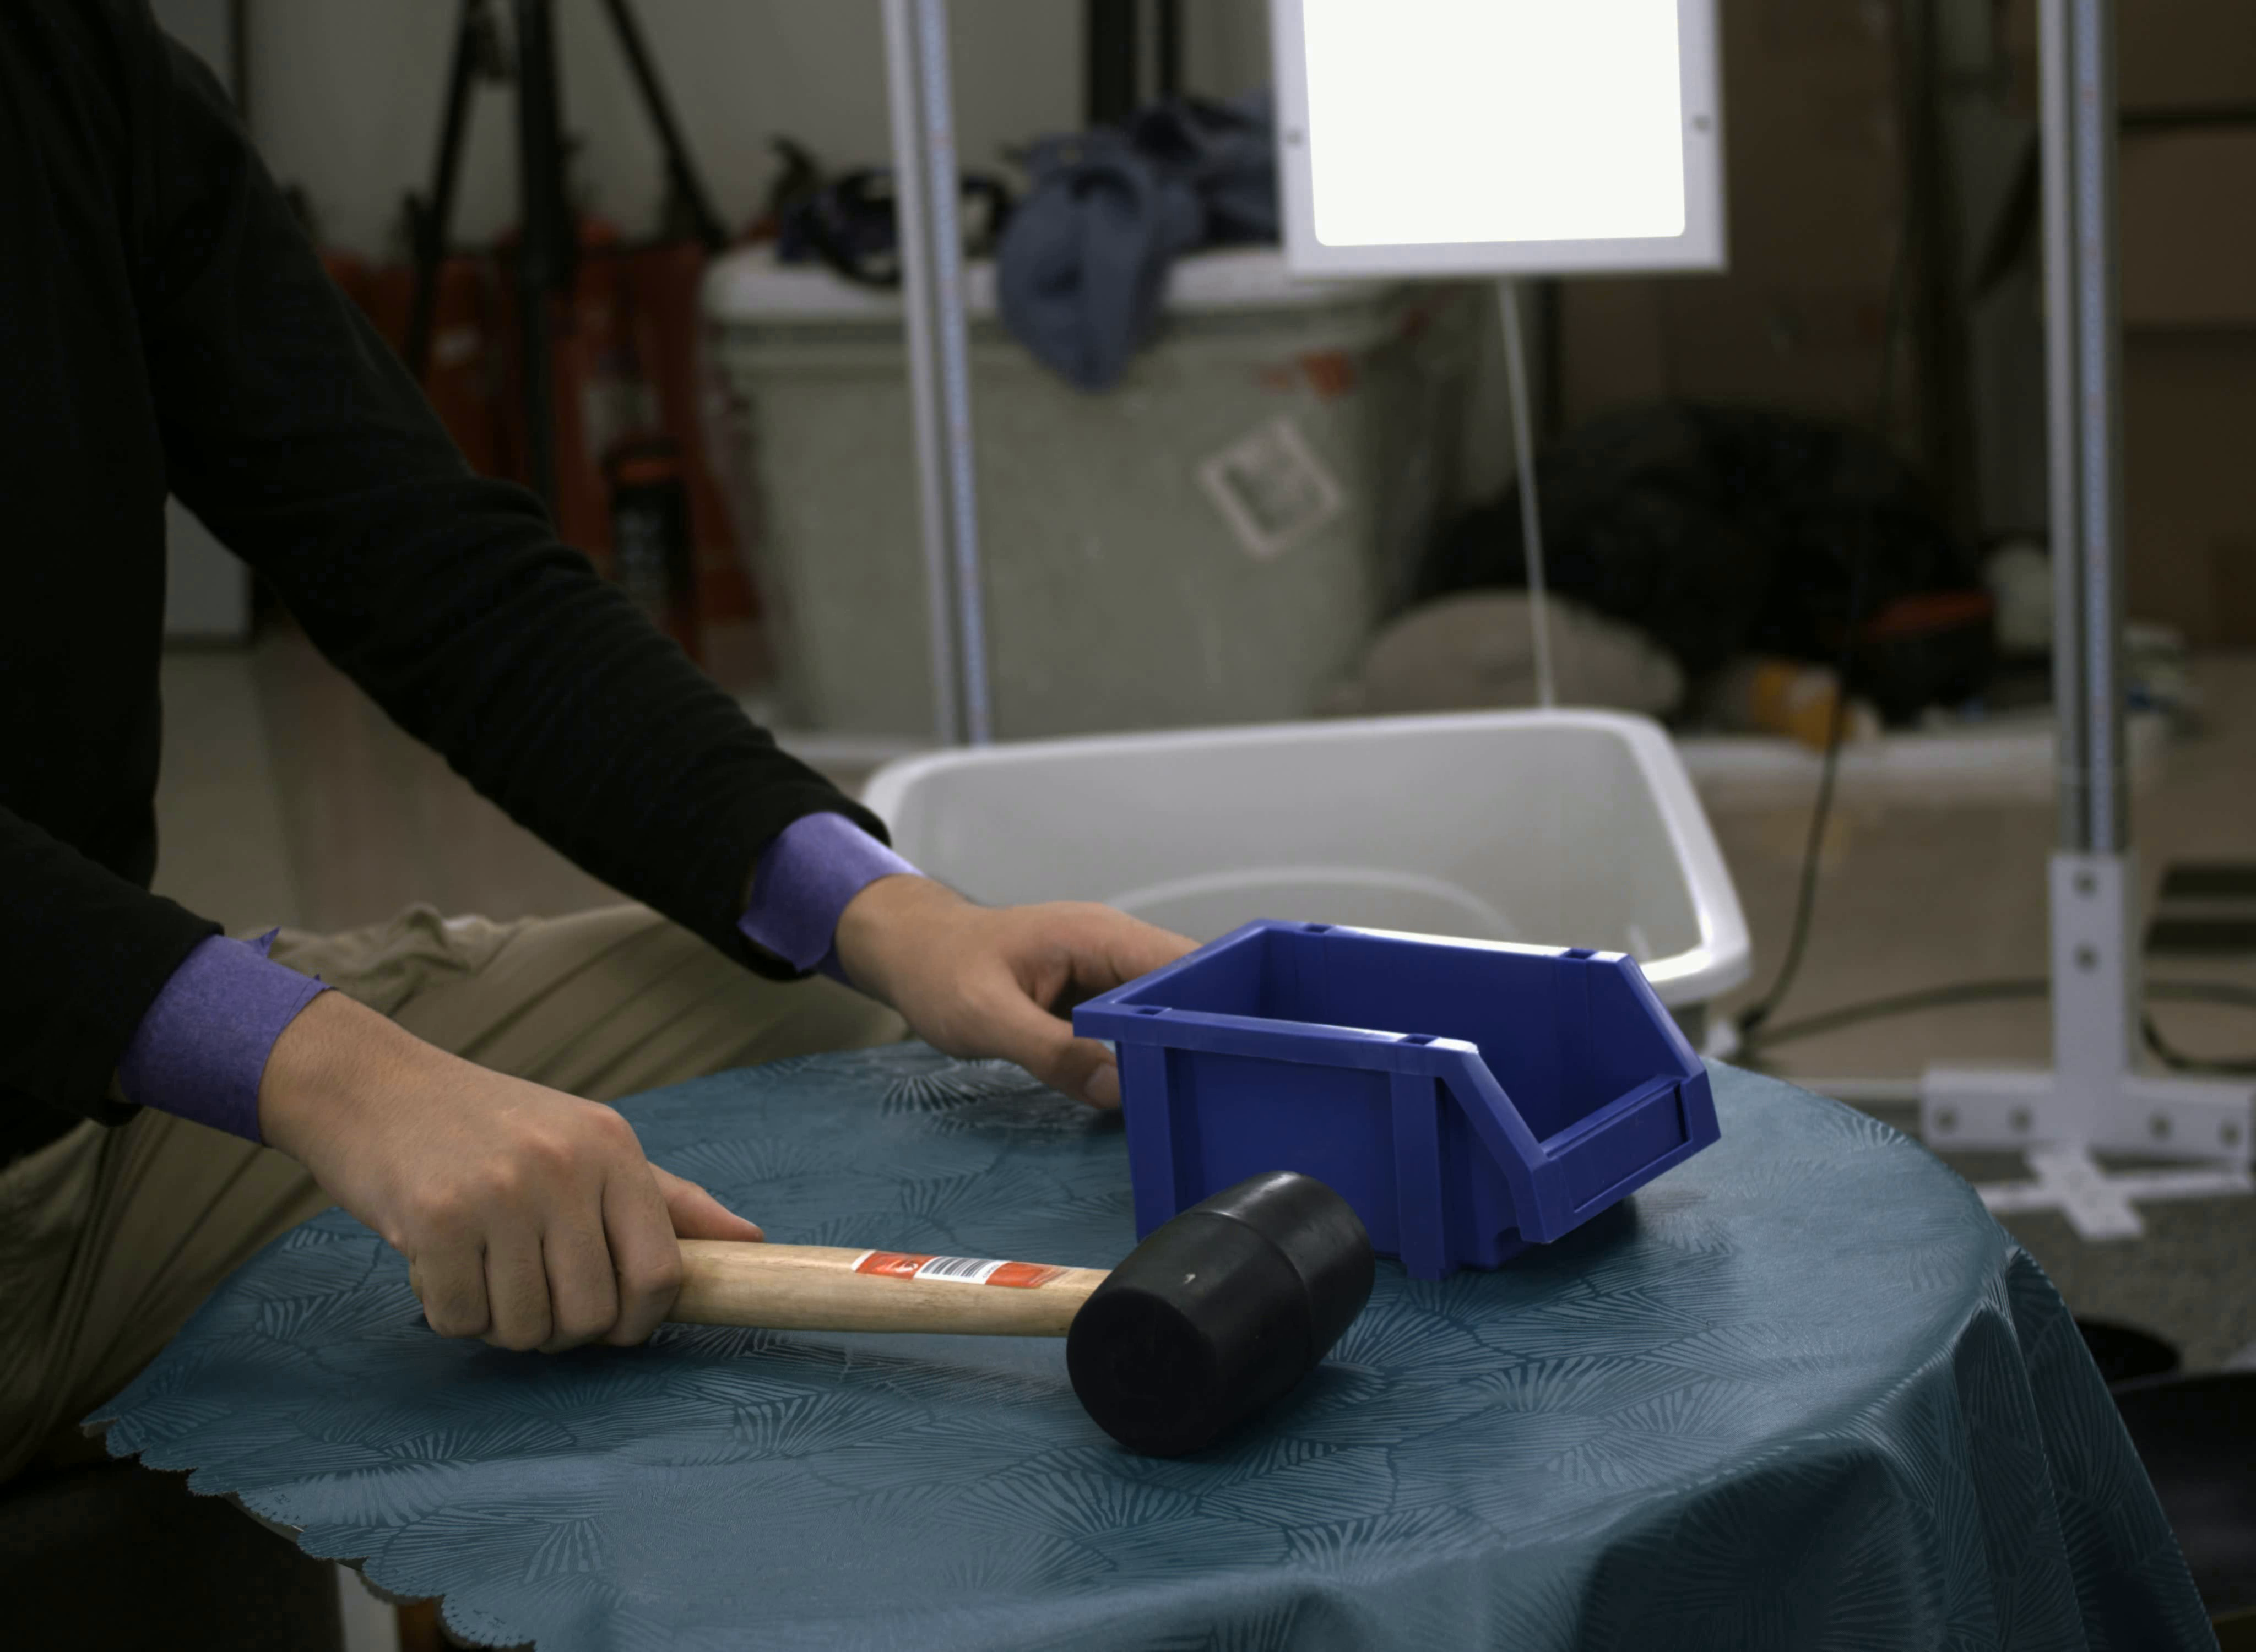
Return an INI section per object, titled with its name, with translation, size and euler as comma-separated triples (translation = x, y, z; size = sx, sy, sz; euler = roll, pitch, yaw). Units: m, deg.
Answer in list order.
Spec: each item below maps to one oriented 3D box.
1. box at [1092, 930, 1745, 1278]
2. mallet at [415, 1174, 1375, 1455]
[box]
translation = 0.099, 0.091, 1.837
size = 0.183, 0.082, 0.121
euler = 1, 15, 37
[mallet]
translation = -0.088, 0.141, 1.747
size = 0.346, 0.064, 0.099
euler = 3, 18, 34
